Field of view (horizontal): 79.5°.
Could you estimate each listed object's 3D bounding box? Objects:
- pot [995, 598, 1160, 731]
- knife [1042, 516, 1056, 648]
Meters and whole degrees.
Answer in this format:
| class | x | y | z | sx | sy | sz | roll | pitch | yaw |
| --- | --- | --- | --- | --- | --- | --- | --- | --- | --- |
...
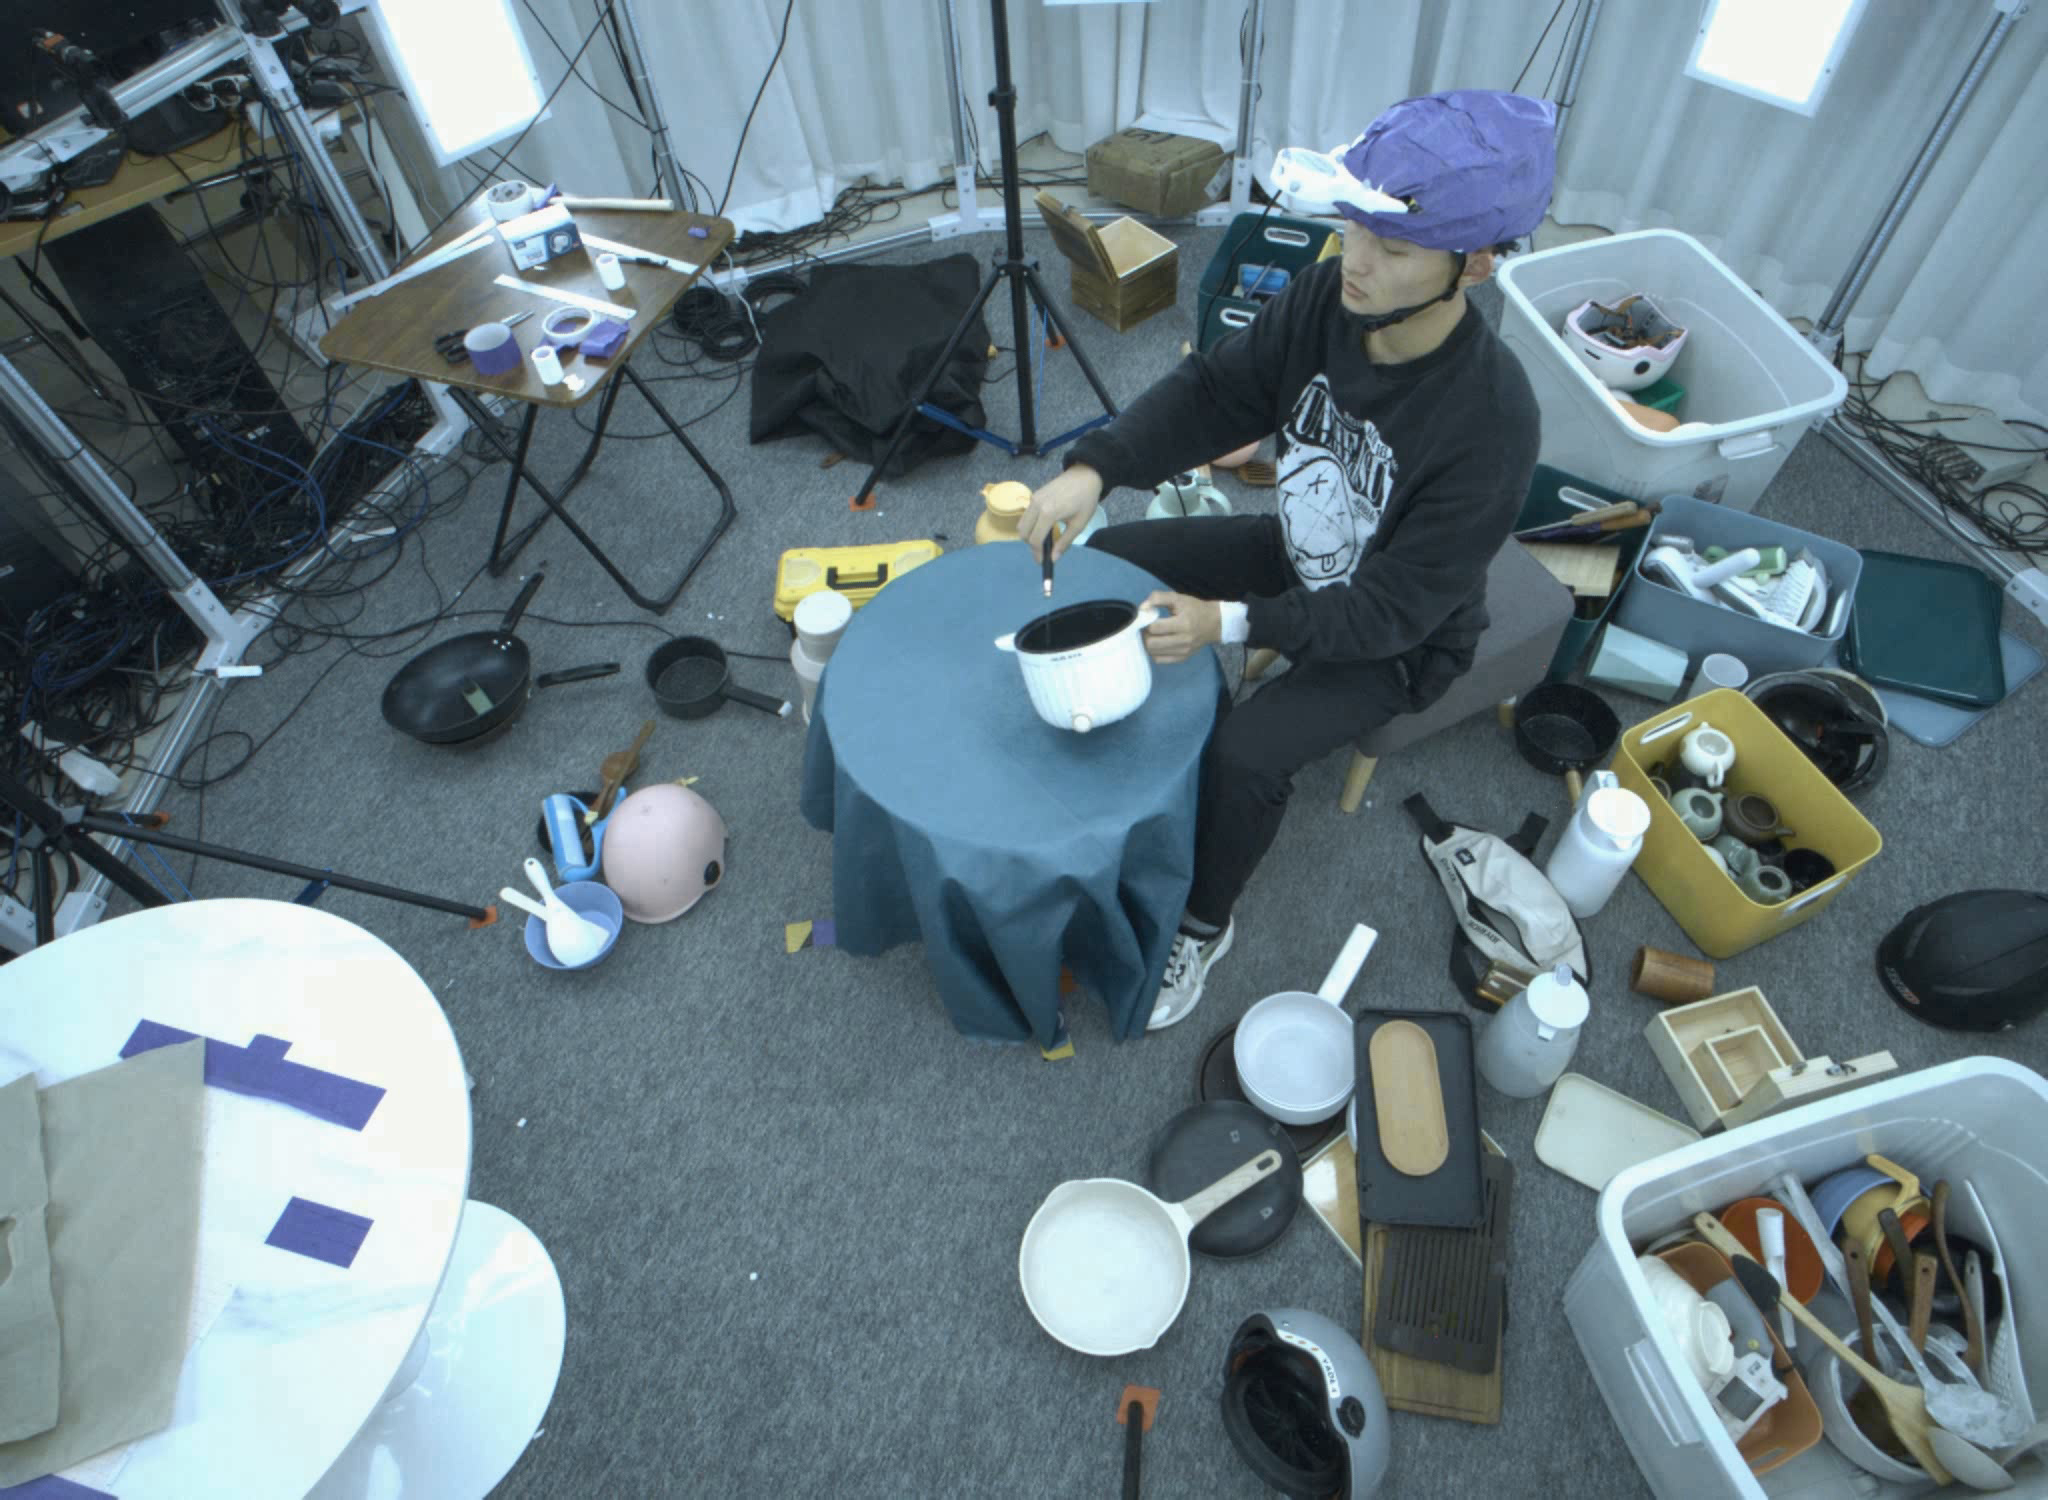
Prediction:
| class | x | y | z | sx | sy | sz | roll | pitch | yaw |
| --- | --- | --- | --- | --- | --- | --- | --- | --- | --- |
| pot | 0.089 | -0.116 | 1.739 | 0.238 | 0.144 | 0.190 | -10 | 22 | 16 |
| knife | 0.036 | -0.217 | 1.735 | 0.017 | 0.226 | 0.025 | -9 | 15 | -31 |
